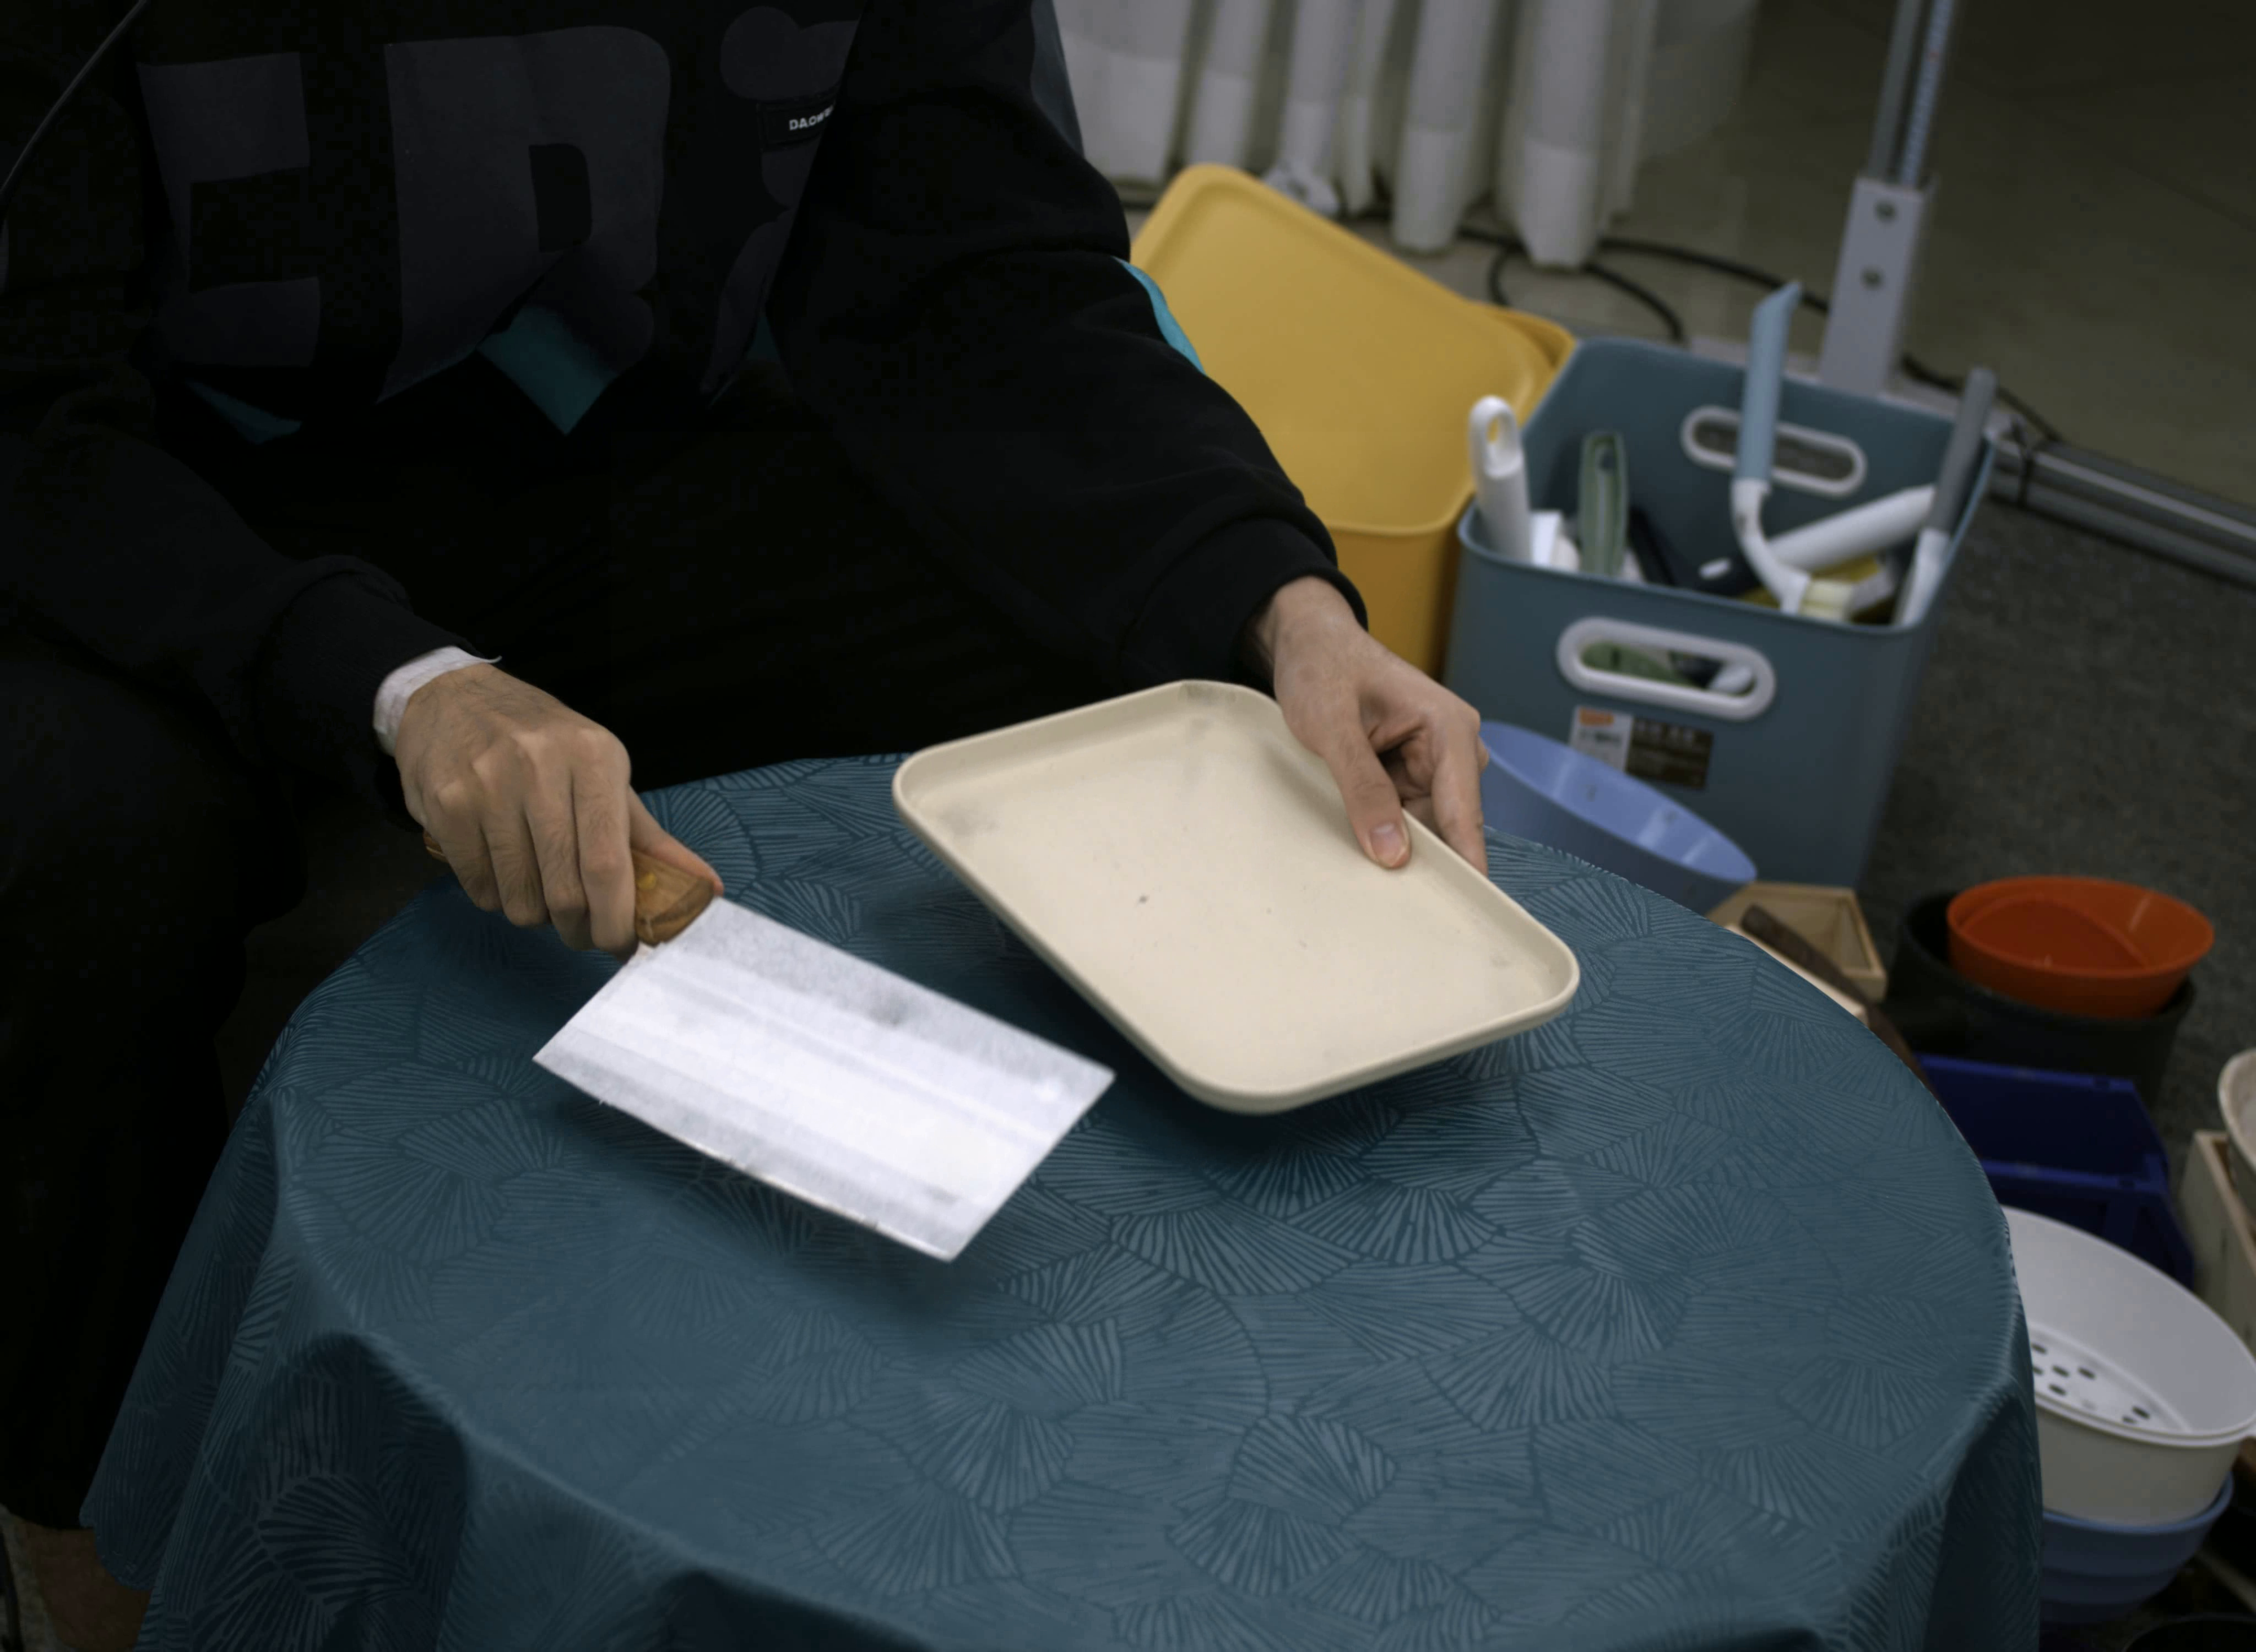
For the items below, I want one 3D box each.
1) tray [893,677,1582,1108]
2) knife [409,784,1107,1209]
[{"bbox_3d":[0.037,0.022,1.919,0.170,0.017,0.242,-16,38,-30],"label":"tray"},{"bbox_3d":[-0.146,0.059,1.805,0.308,0.021,0.093,21,57,34],"label":"knife"}]
